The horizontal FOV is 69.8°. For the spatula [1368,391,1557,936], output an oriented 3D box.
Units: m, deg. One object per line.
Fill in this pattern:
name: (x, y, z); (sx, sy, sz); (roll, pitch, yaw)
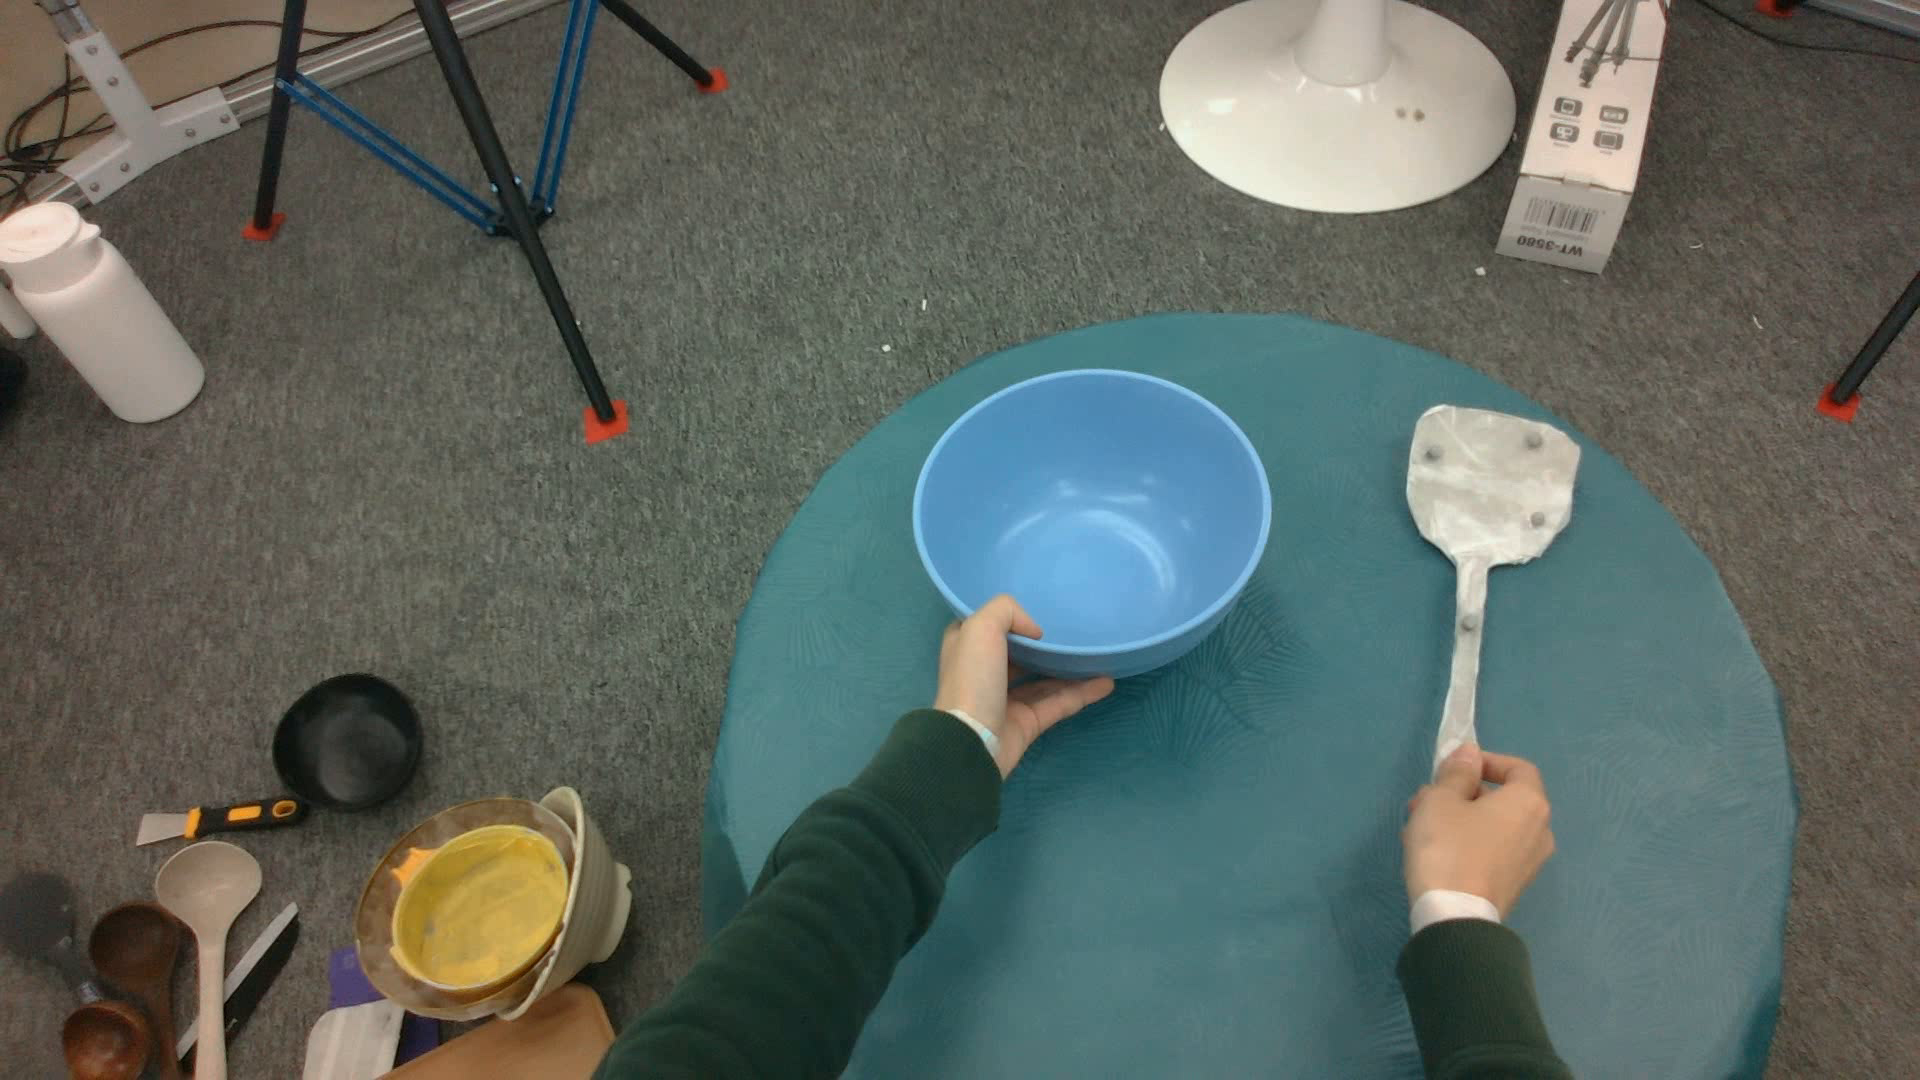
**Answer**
spatula: (0.271, 0.054, 0.771); (0.098, 0.044, 0.367); (16, 50, 10)

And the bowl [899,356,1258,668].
bowl: (0.067, -0.002, 0.791); (0.196, 0.095, 0.197); (-2, 53, 3)
